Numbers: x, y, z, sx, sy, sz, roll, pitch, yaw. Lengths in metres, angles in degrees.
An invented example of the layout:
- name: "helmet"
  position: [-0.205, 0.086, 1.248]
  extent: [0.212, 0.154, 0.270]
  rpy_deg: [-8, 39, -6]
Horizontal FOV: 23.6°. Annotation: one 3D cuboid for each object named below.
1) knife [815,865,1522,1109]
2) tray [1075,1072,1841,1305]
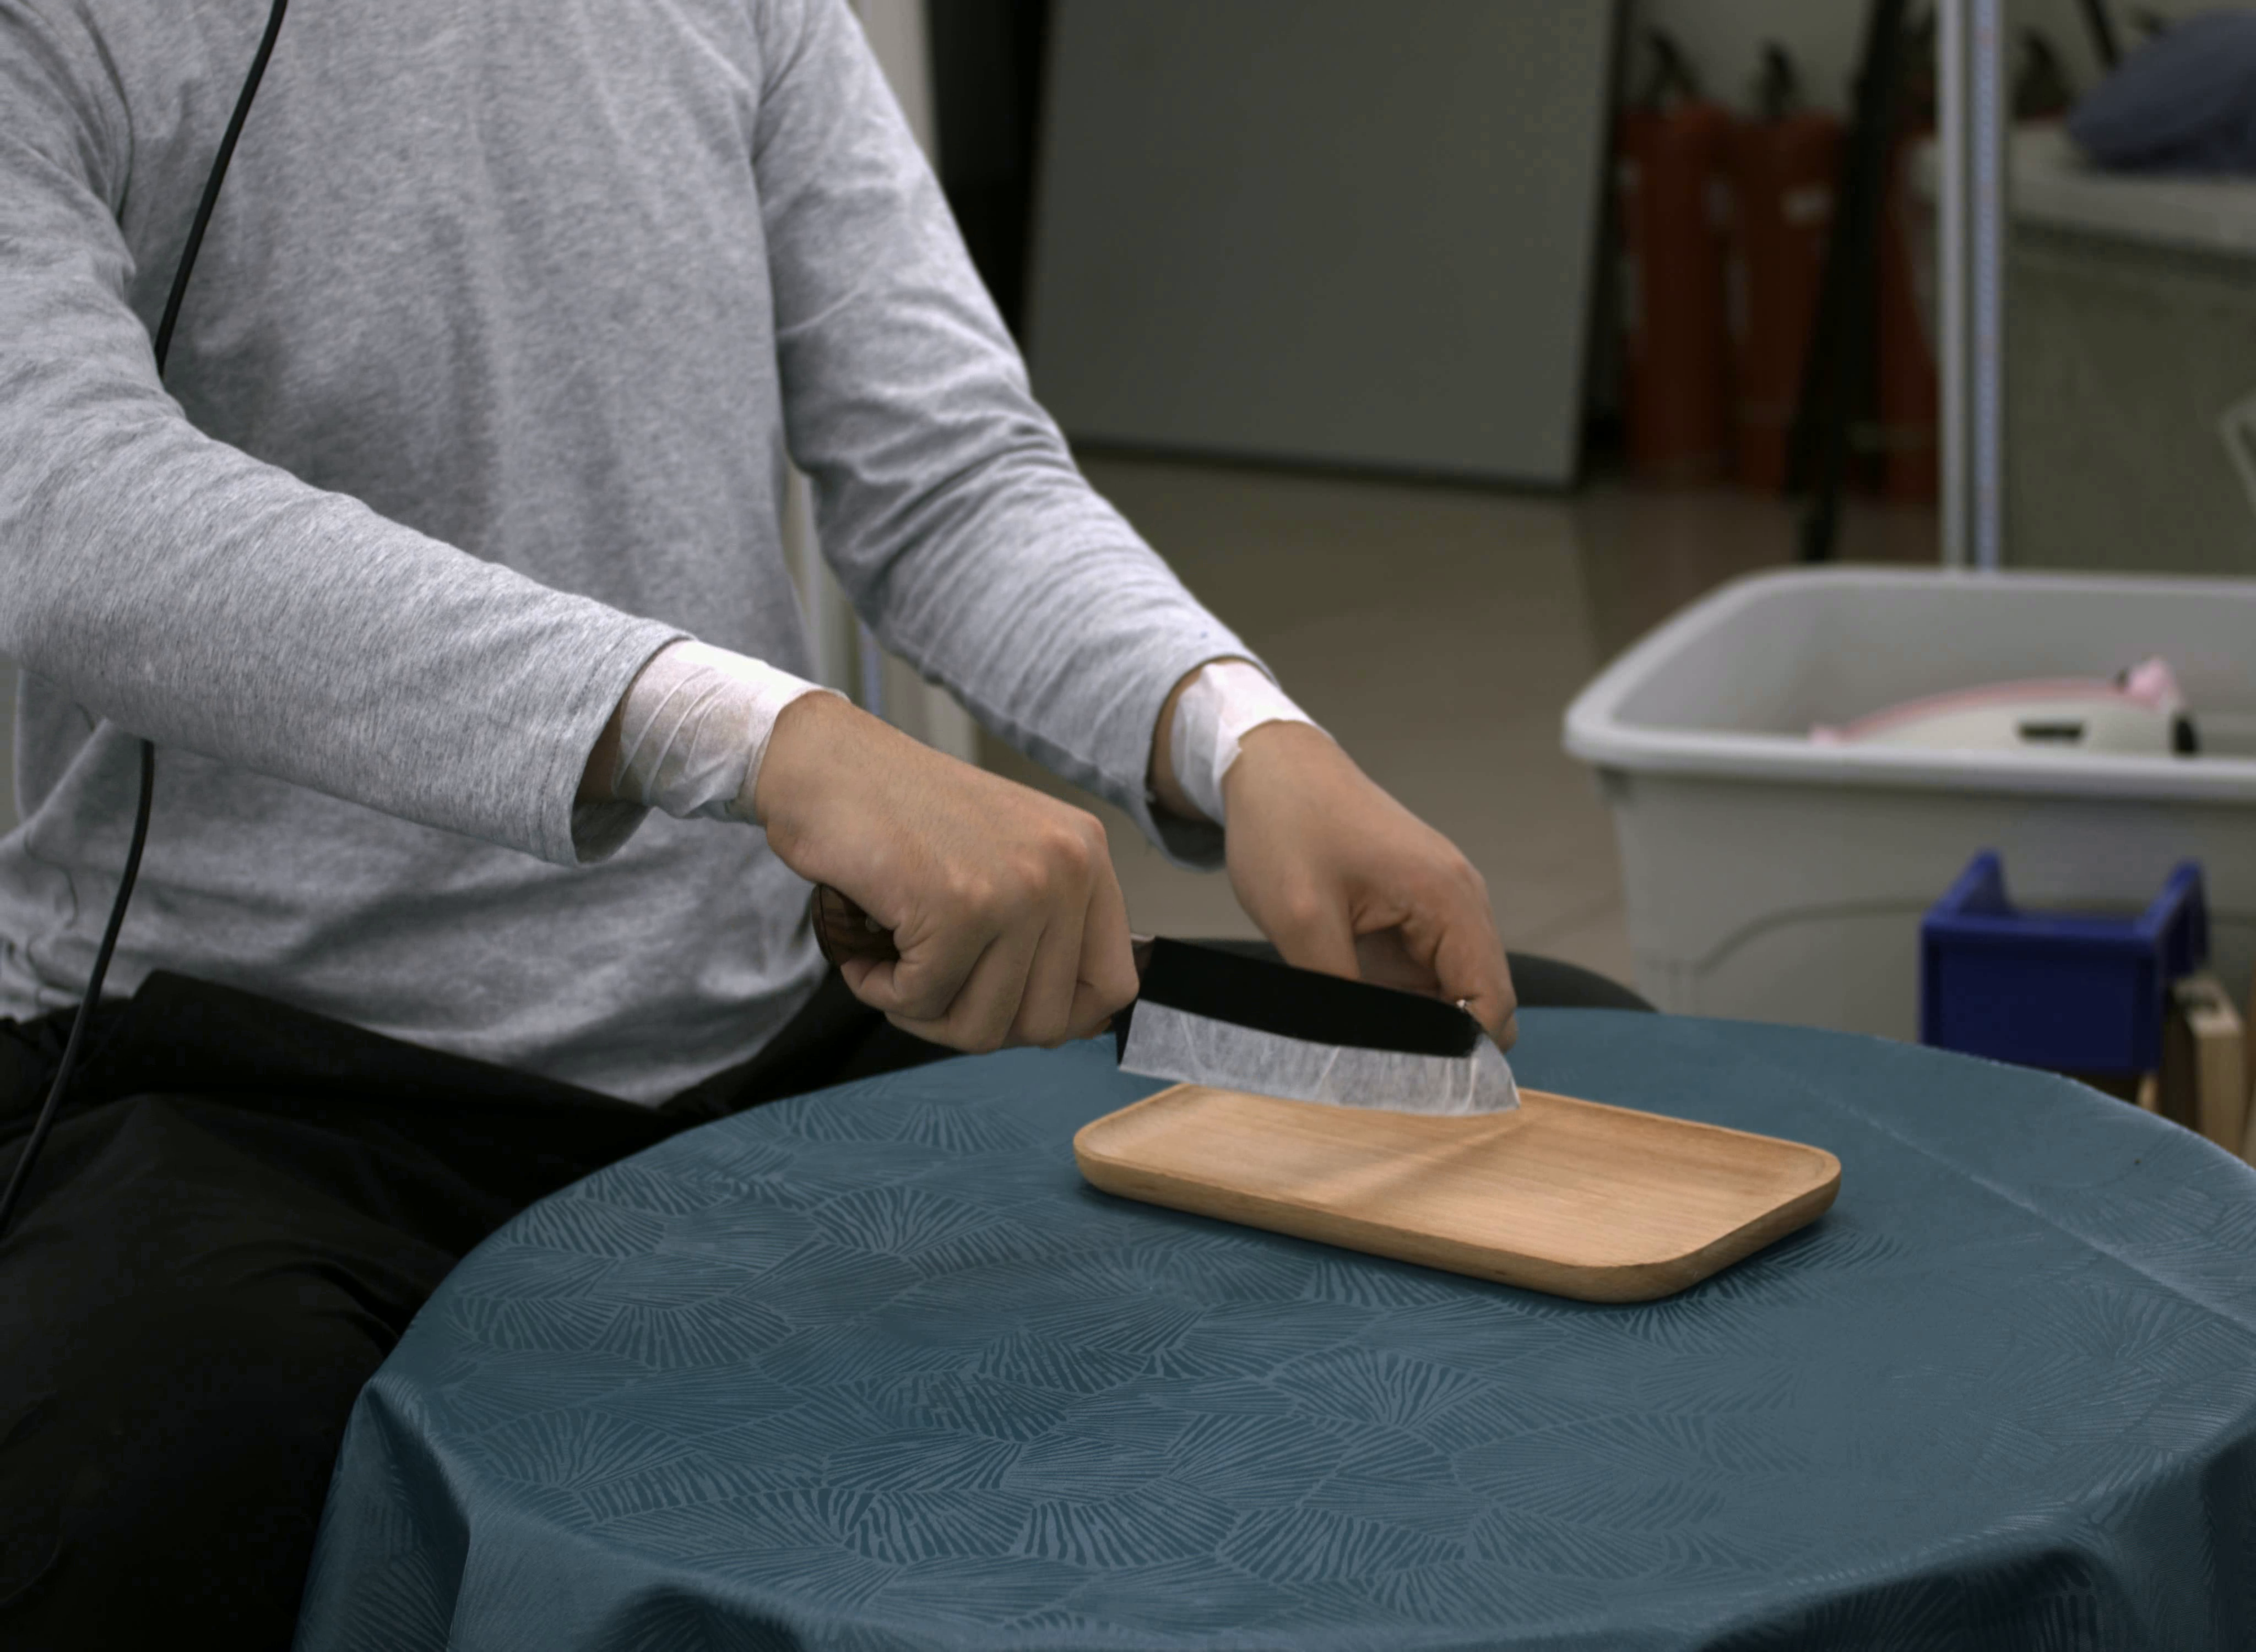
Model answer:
- name: "knife"
  position: [0.019, 0.053, 1.698]
  extent: [0.283, 0.051, 0.020]
  rpy_deg: [16, -4, -35]
- name: "tray"
  position: [0.104, 0.112, 1.741]
  extent: [0.253, 0.023, 0.128]
  rpy_deg: [8, 18, 44]
